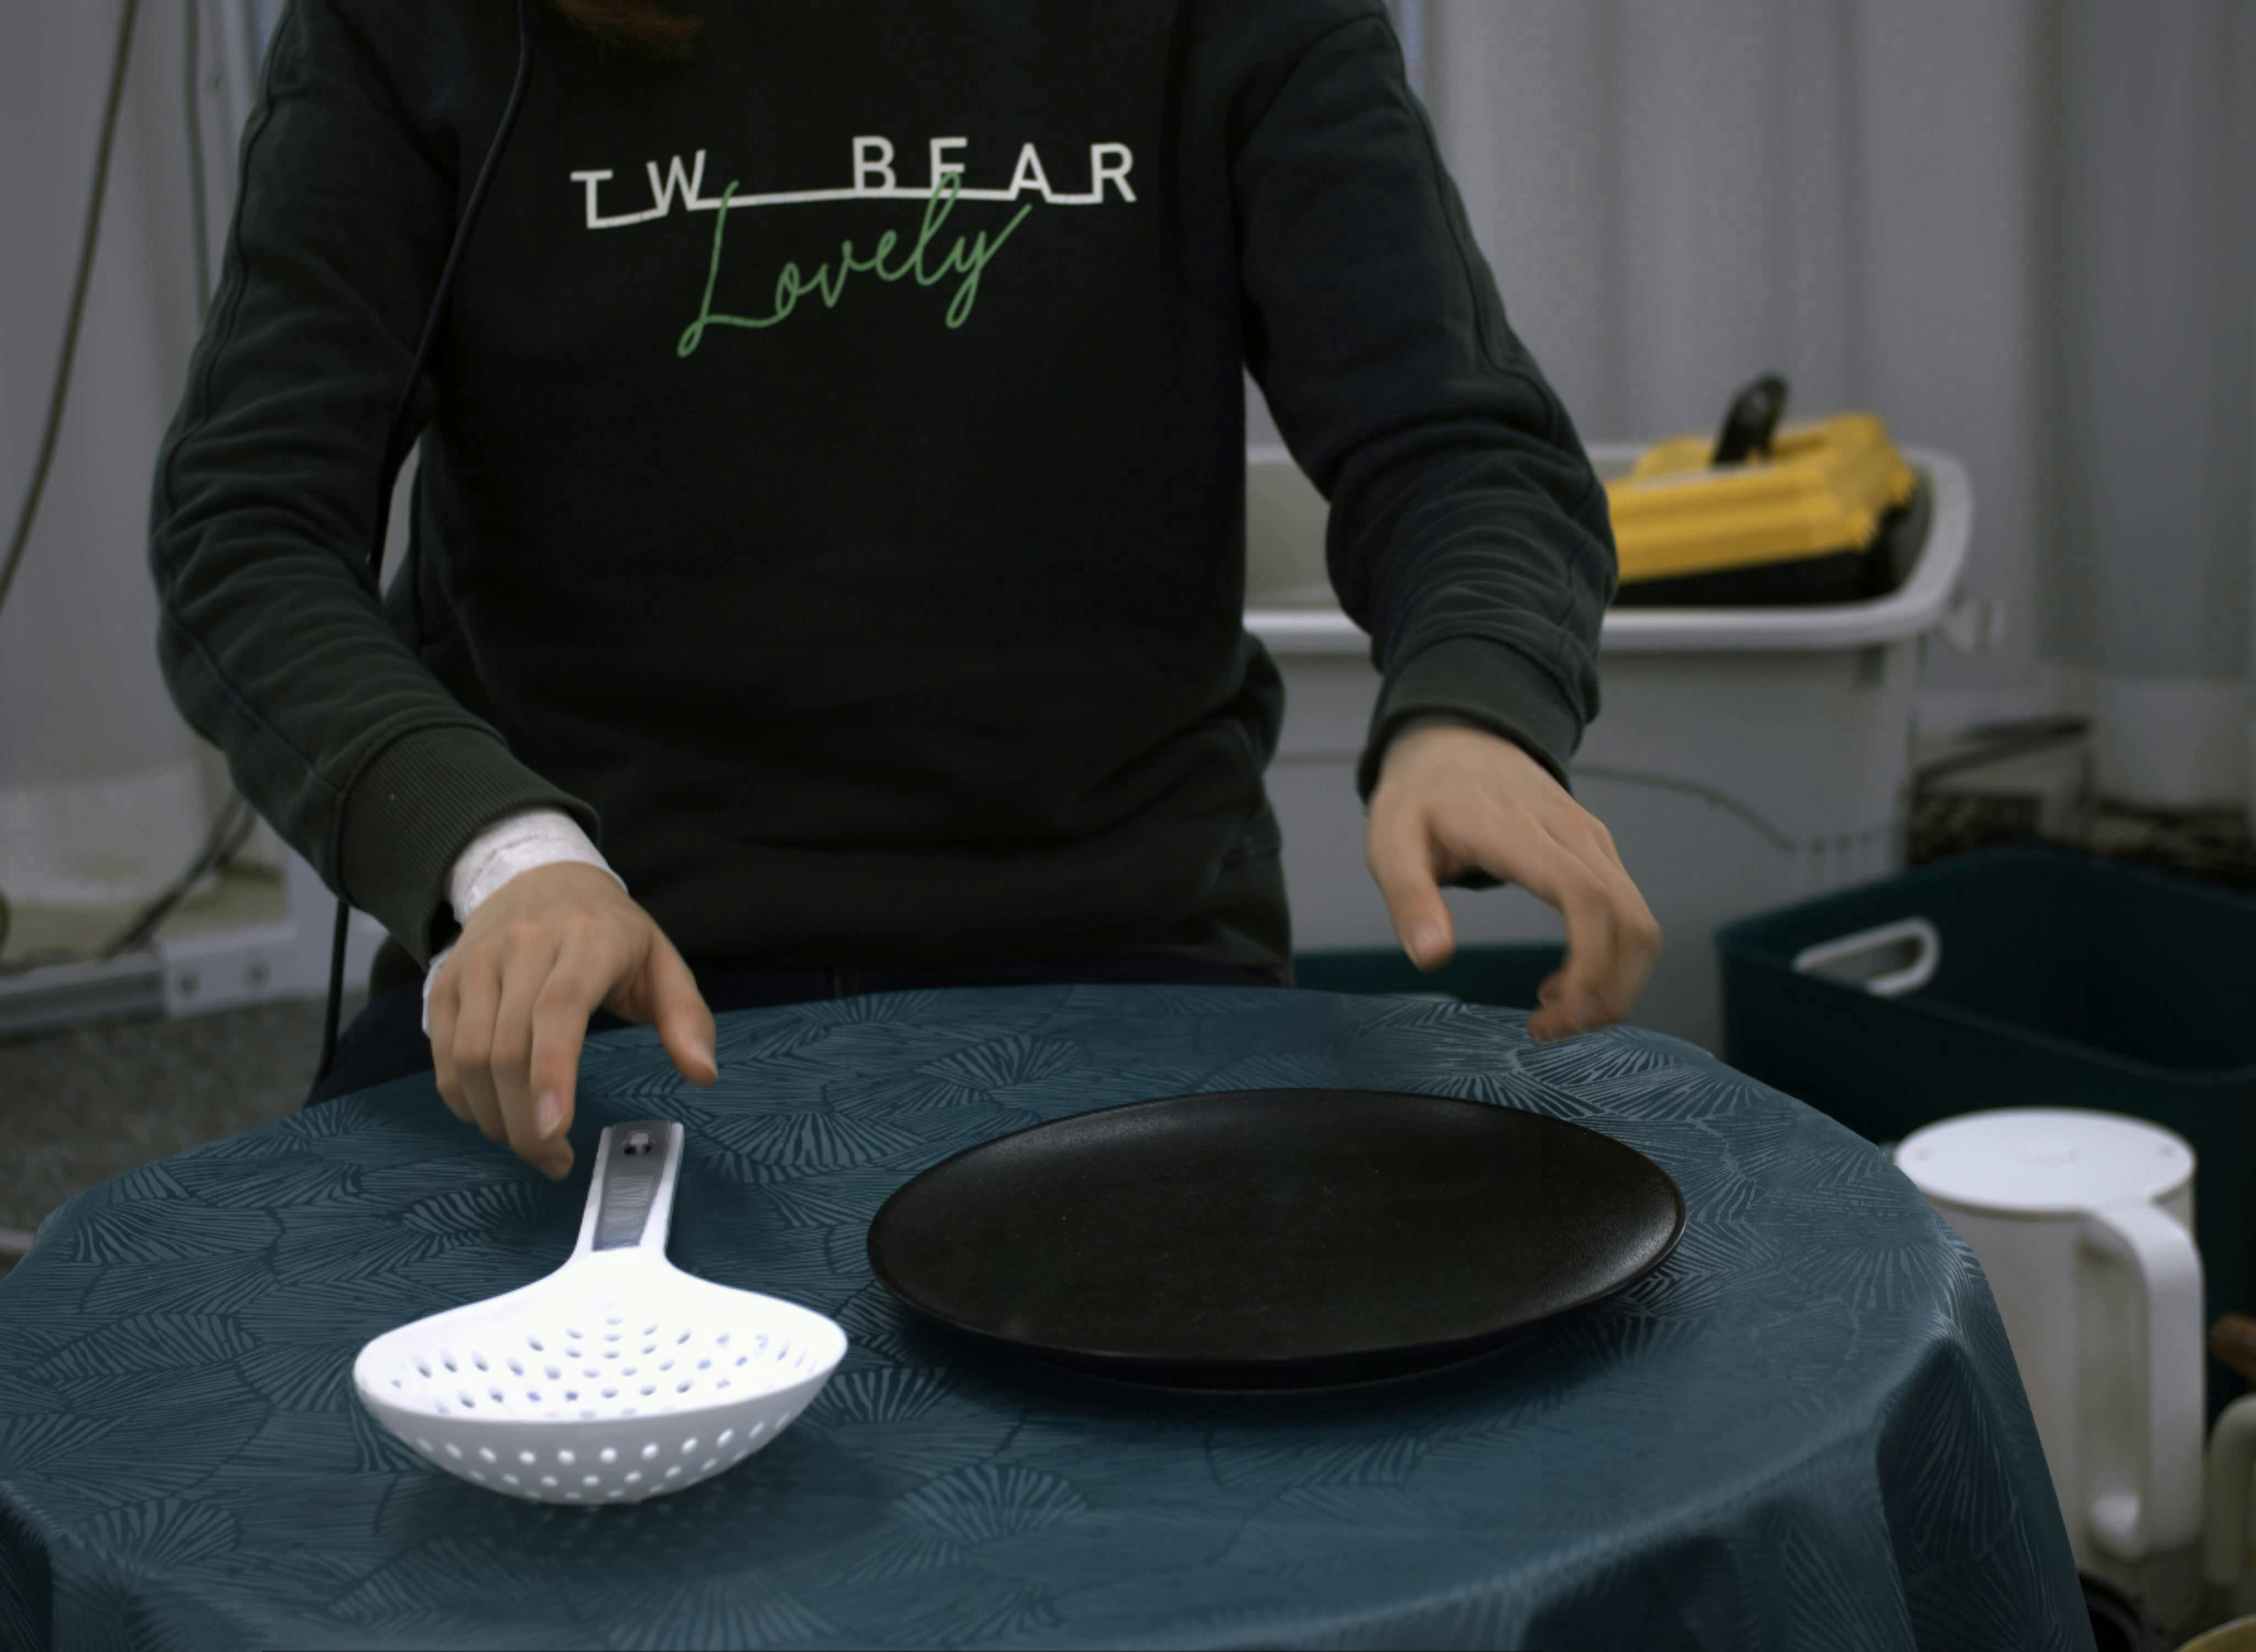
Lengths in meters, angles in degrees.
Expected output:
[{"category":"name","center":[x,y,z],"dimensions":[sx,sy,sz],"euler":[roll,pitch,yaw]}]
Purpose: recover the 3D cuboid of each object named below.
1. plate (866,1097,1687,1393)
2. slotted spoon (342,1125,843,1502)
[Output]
[{"category":"plate","center":[0.044,0.126,1.620],"dimensions":[0.243,0.023,0.246],"euler":[-3,15,0]},{"category":"slotted spoon","center":[-0.149,0.132,1.590],"dimensions":[0.135,0.045,0.352],"euler":[-1,14,-2]}]
